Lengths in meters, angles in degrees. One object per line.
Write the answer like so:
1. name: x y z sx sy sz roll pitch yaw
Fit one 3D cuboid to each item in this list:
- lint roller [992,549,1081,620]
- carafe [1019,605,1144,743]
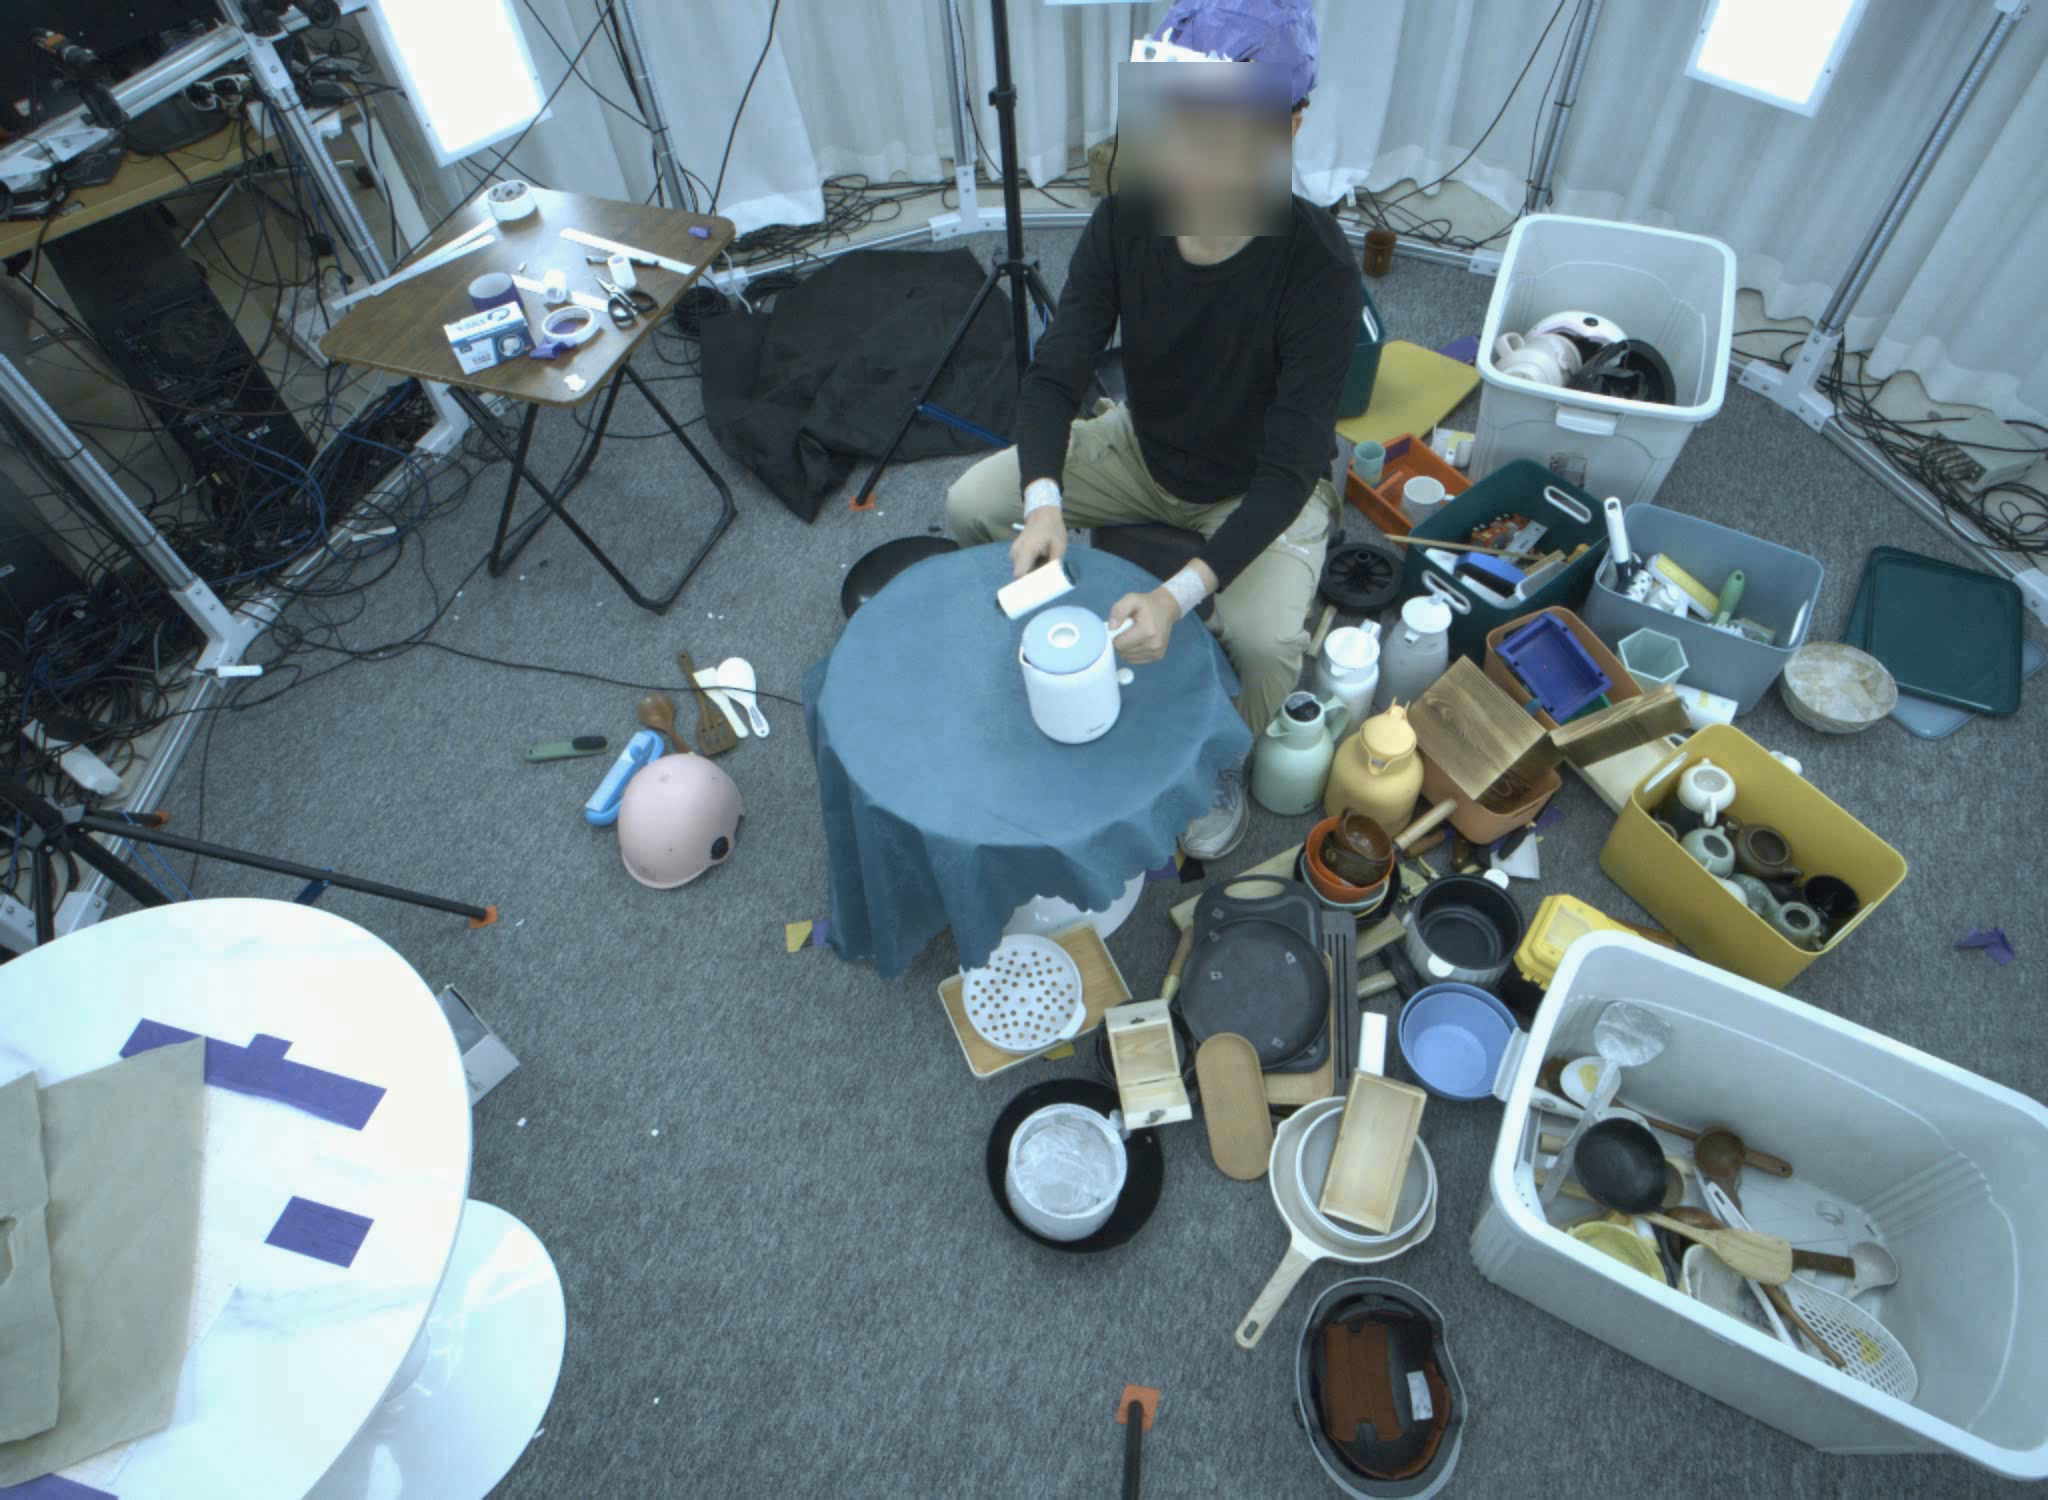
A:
1. lint roller: 0.019 -0.263 1.774 0.133 0.049 0.178 -25 32 18
2. carafe: 0.087 -0.118 1.754 0.192 0.185 0.130 -26 58 -11
